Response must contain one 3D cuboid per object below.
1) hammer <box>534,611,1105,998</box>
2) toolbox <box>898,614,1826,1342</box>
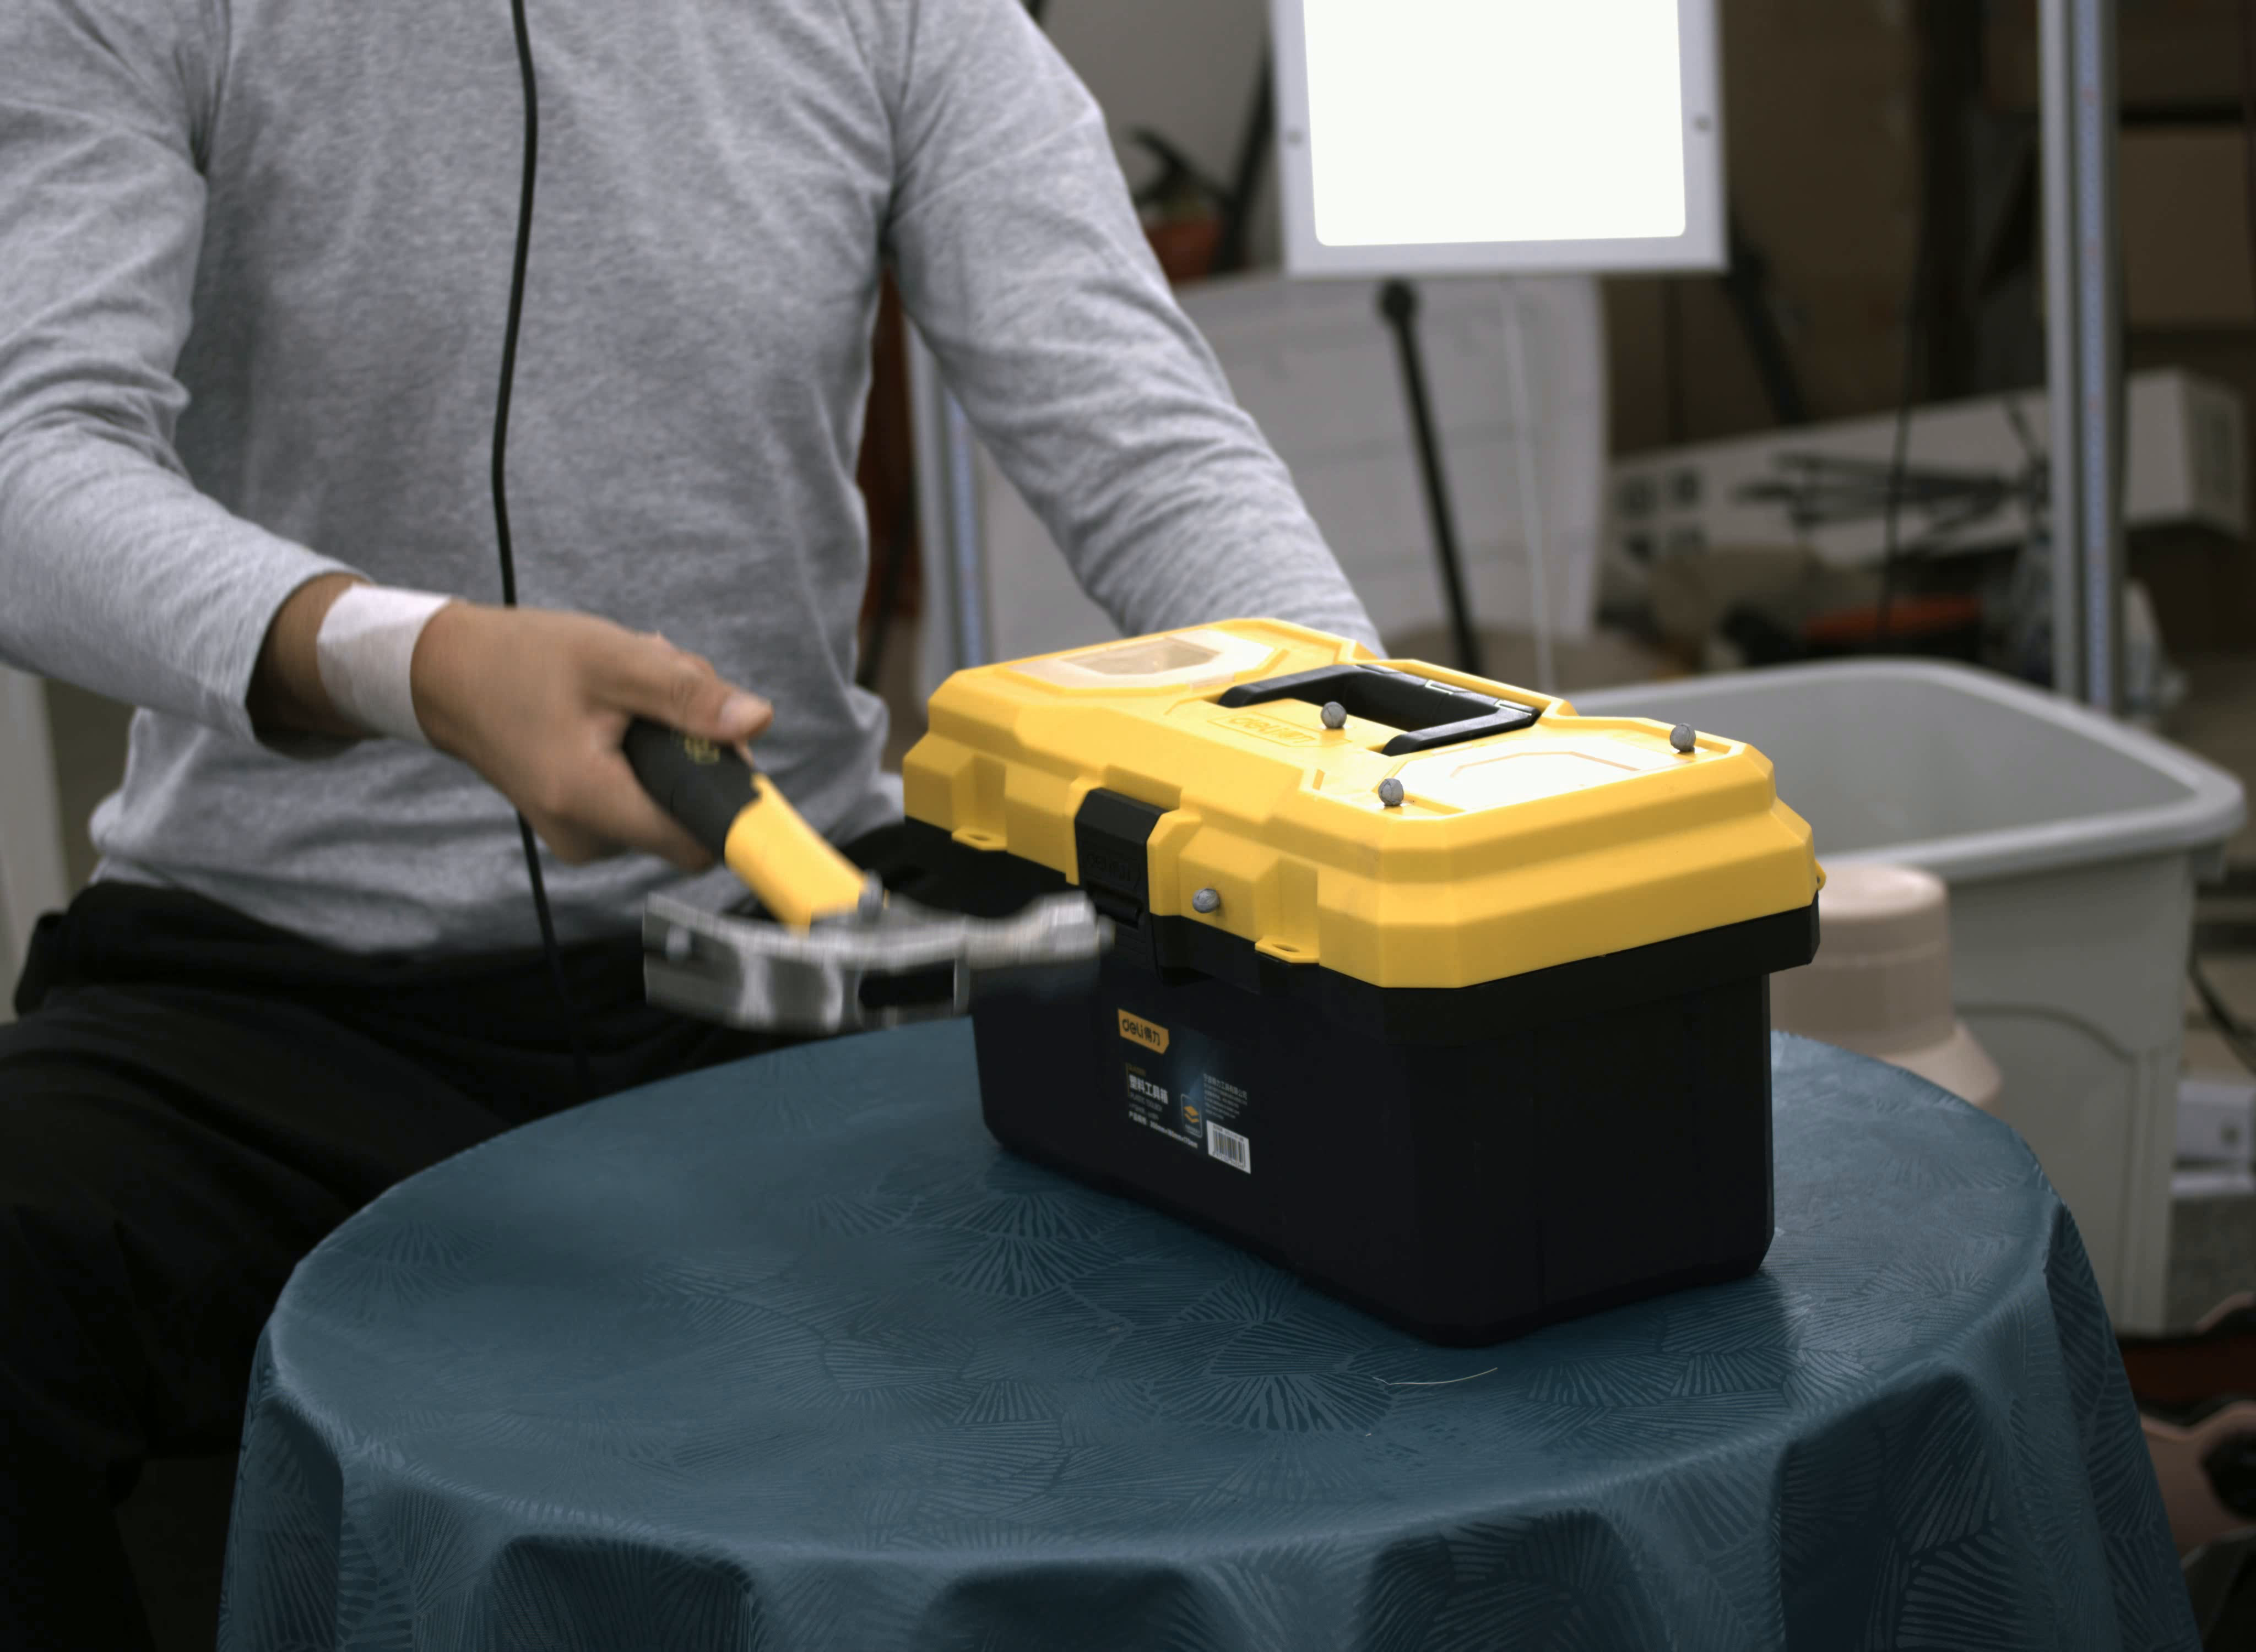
[{"bbox_3d":[-0.130,-0.014,1.816,0.129,0.032,0.343,-8,21,-20],"label":"hammer"},{"bbox_3d":[0.073,0.043,1.844,0.177,0.173,0.357,-12,15,-26],"label":"toolbox"}]
